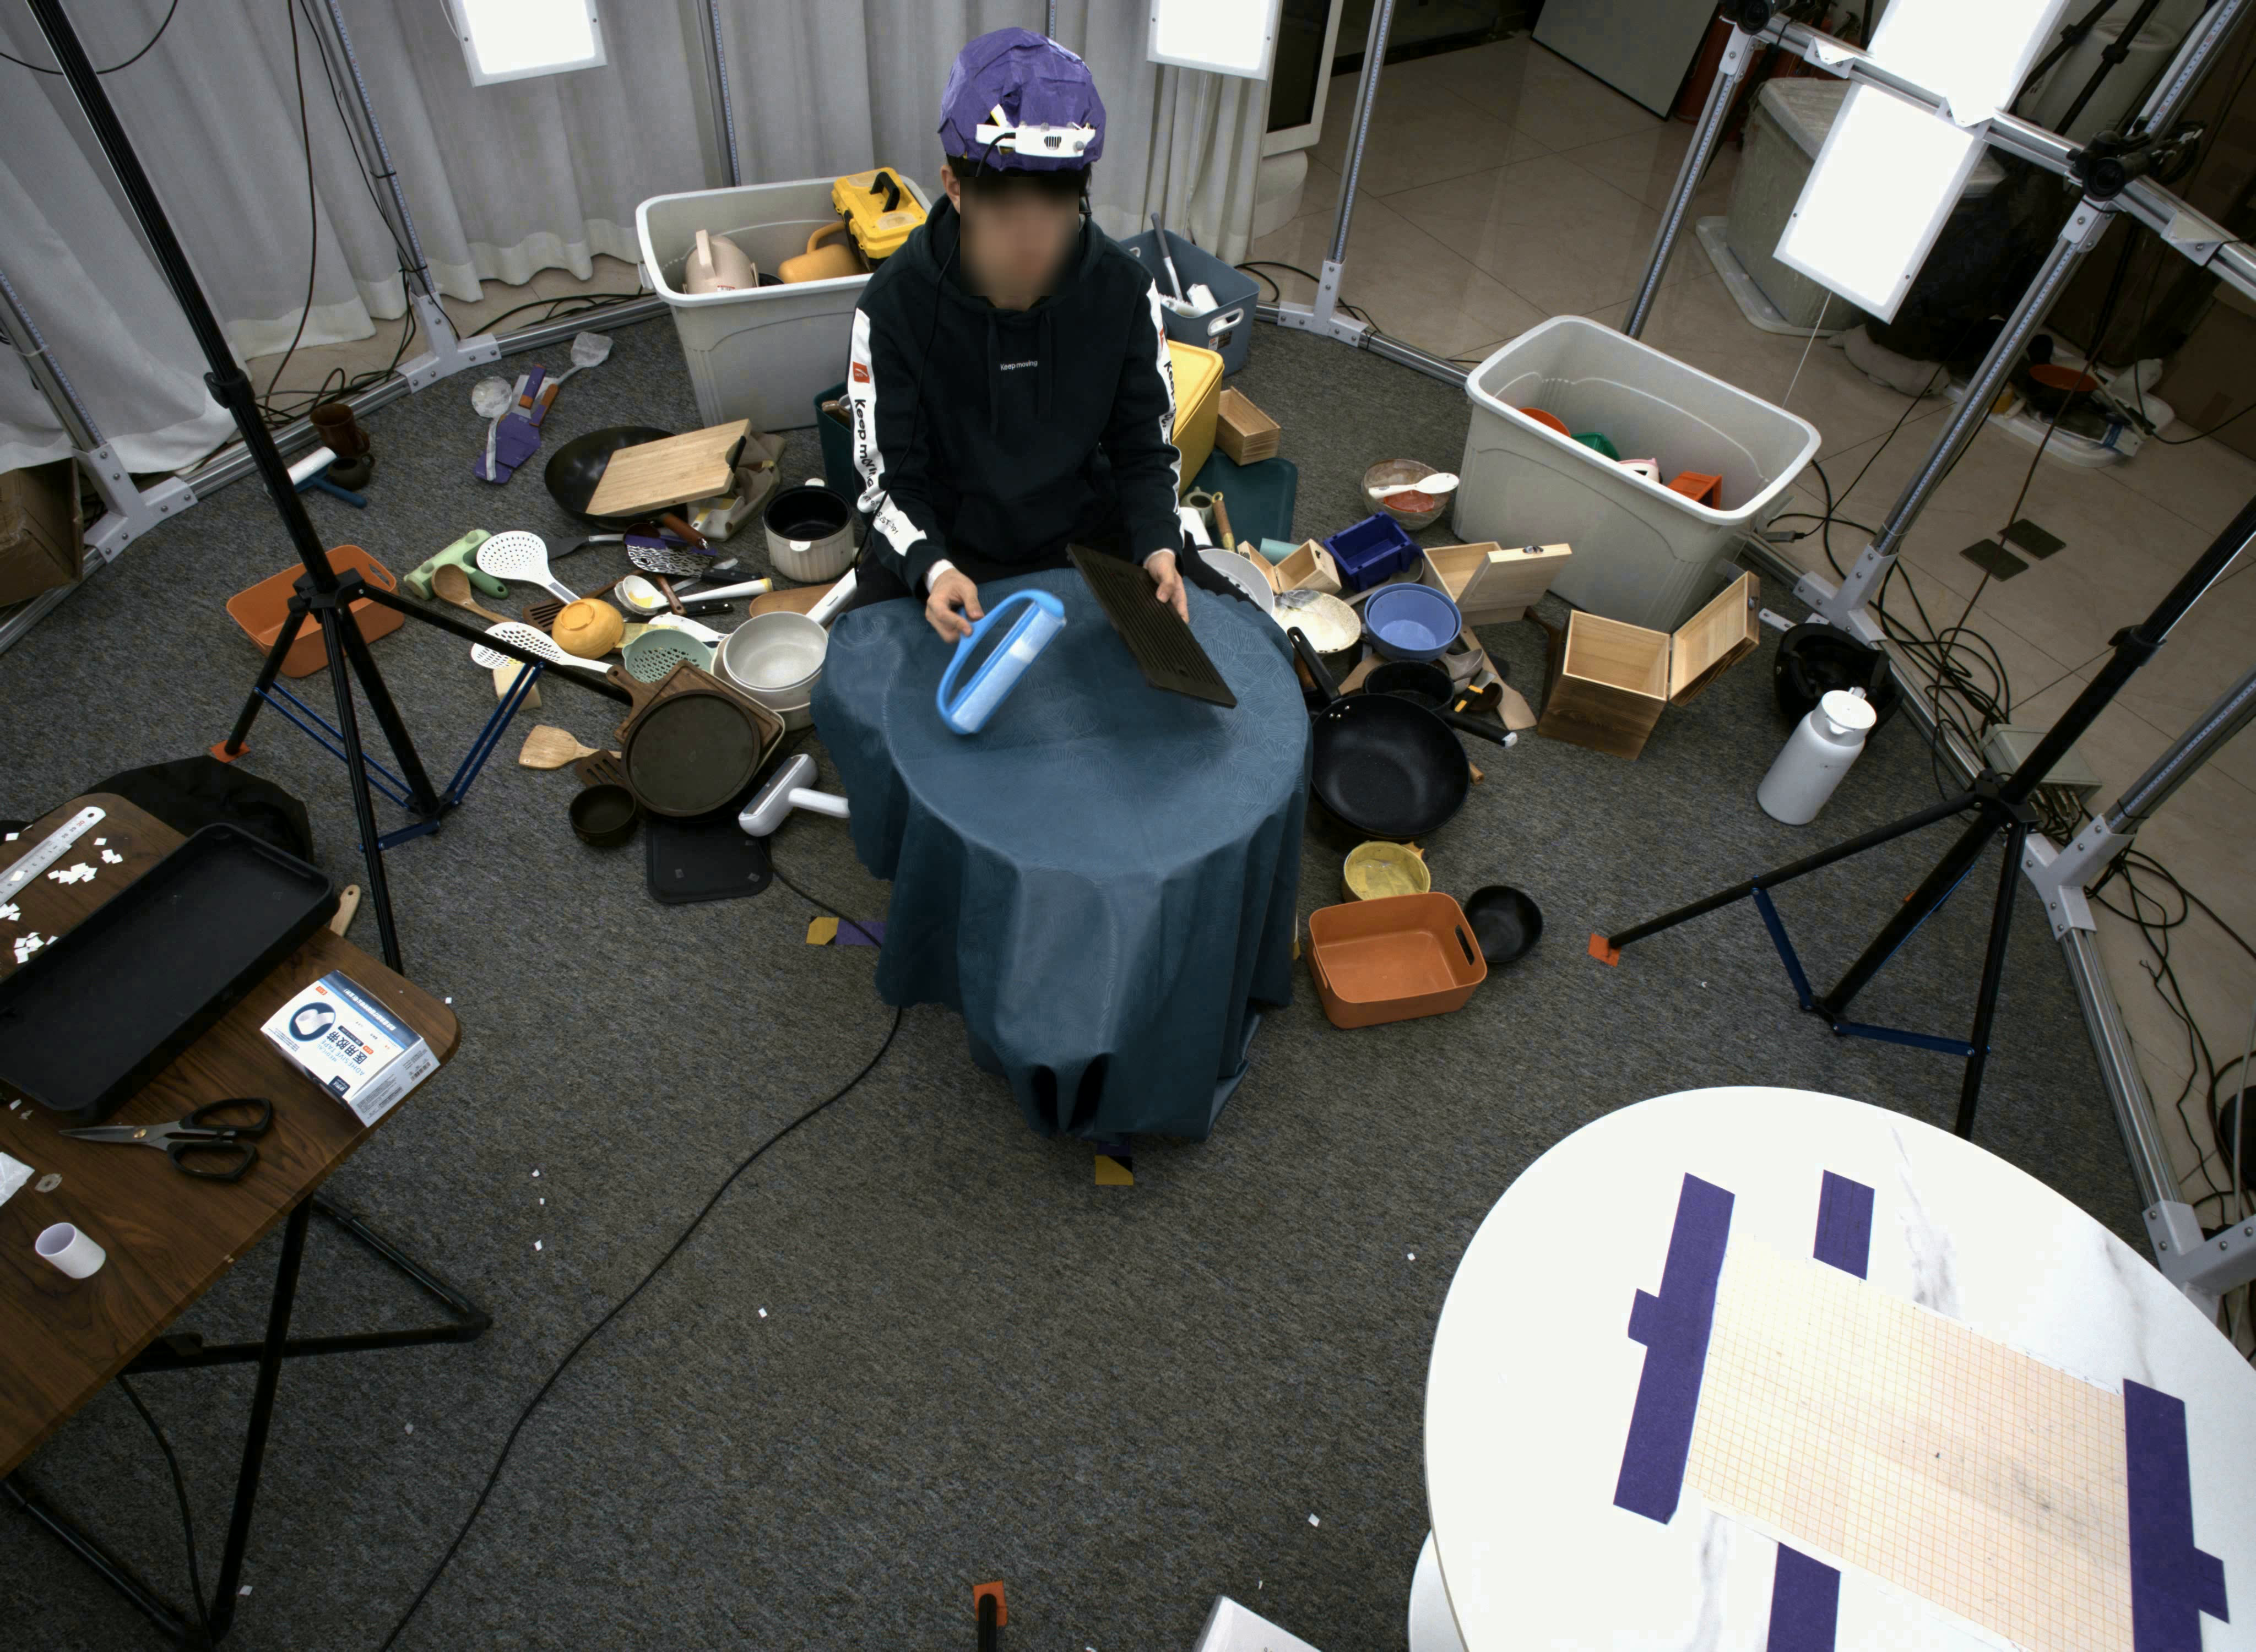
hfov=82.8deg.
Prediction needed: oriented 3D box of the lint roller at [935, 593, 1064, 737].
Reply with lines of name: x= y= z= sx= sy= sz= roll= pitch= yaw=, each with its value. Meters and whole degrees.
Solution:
lint roller: x=-0.201 y=-0.248 z=1.756 sx=0.227 sy=0.067 sz=0.184 roll=-51 pitch=56 yaw=11

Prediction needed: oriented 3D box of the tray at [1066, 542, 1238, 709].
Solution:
tray: x=0.030 y=-0.281 z=1.804 sx=0.168 sy=0.018 sz=0.313 roll=9 pitch=40 yaw=-42
